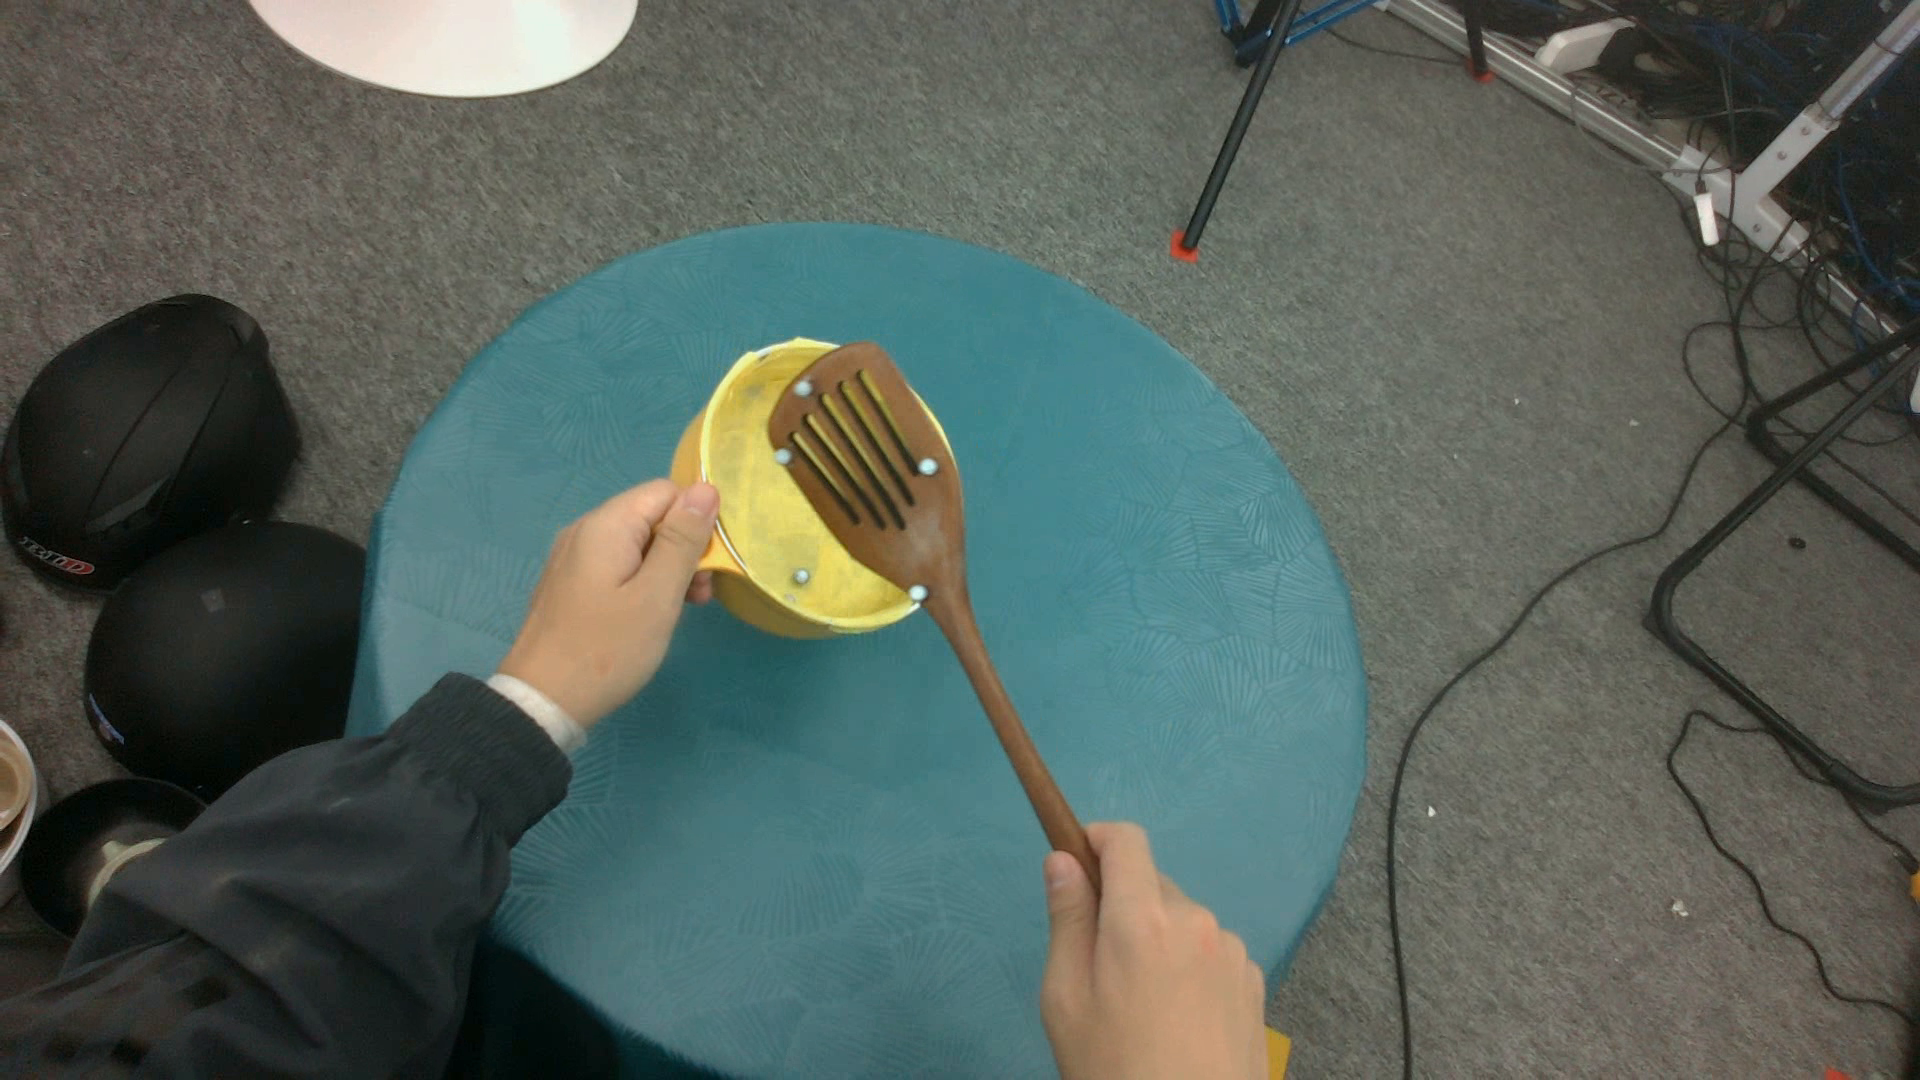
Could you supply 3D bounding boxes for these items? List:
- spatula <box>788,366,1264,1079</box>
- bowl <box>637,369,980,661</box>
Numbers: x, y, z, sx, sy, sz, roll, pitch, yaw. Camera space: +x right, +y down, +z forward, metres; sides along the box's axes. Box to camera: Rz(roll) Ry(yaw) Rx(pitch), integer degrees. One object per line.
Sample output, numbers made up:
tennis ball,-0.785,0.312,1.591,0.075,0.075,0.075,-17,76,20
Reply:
spatula,0.035,0.091,0.639,0.024,0.085,0.387,-11,67,-56
bowl,-0.081,-0.004,0.726,0.180,0.074,0.153,-31,91,-39
